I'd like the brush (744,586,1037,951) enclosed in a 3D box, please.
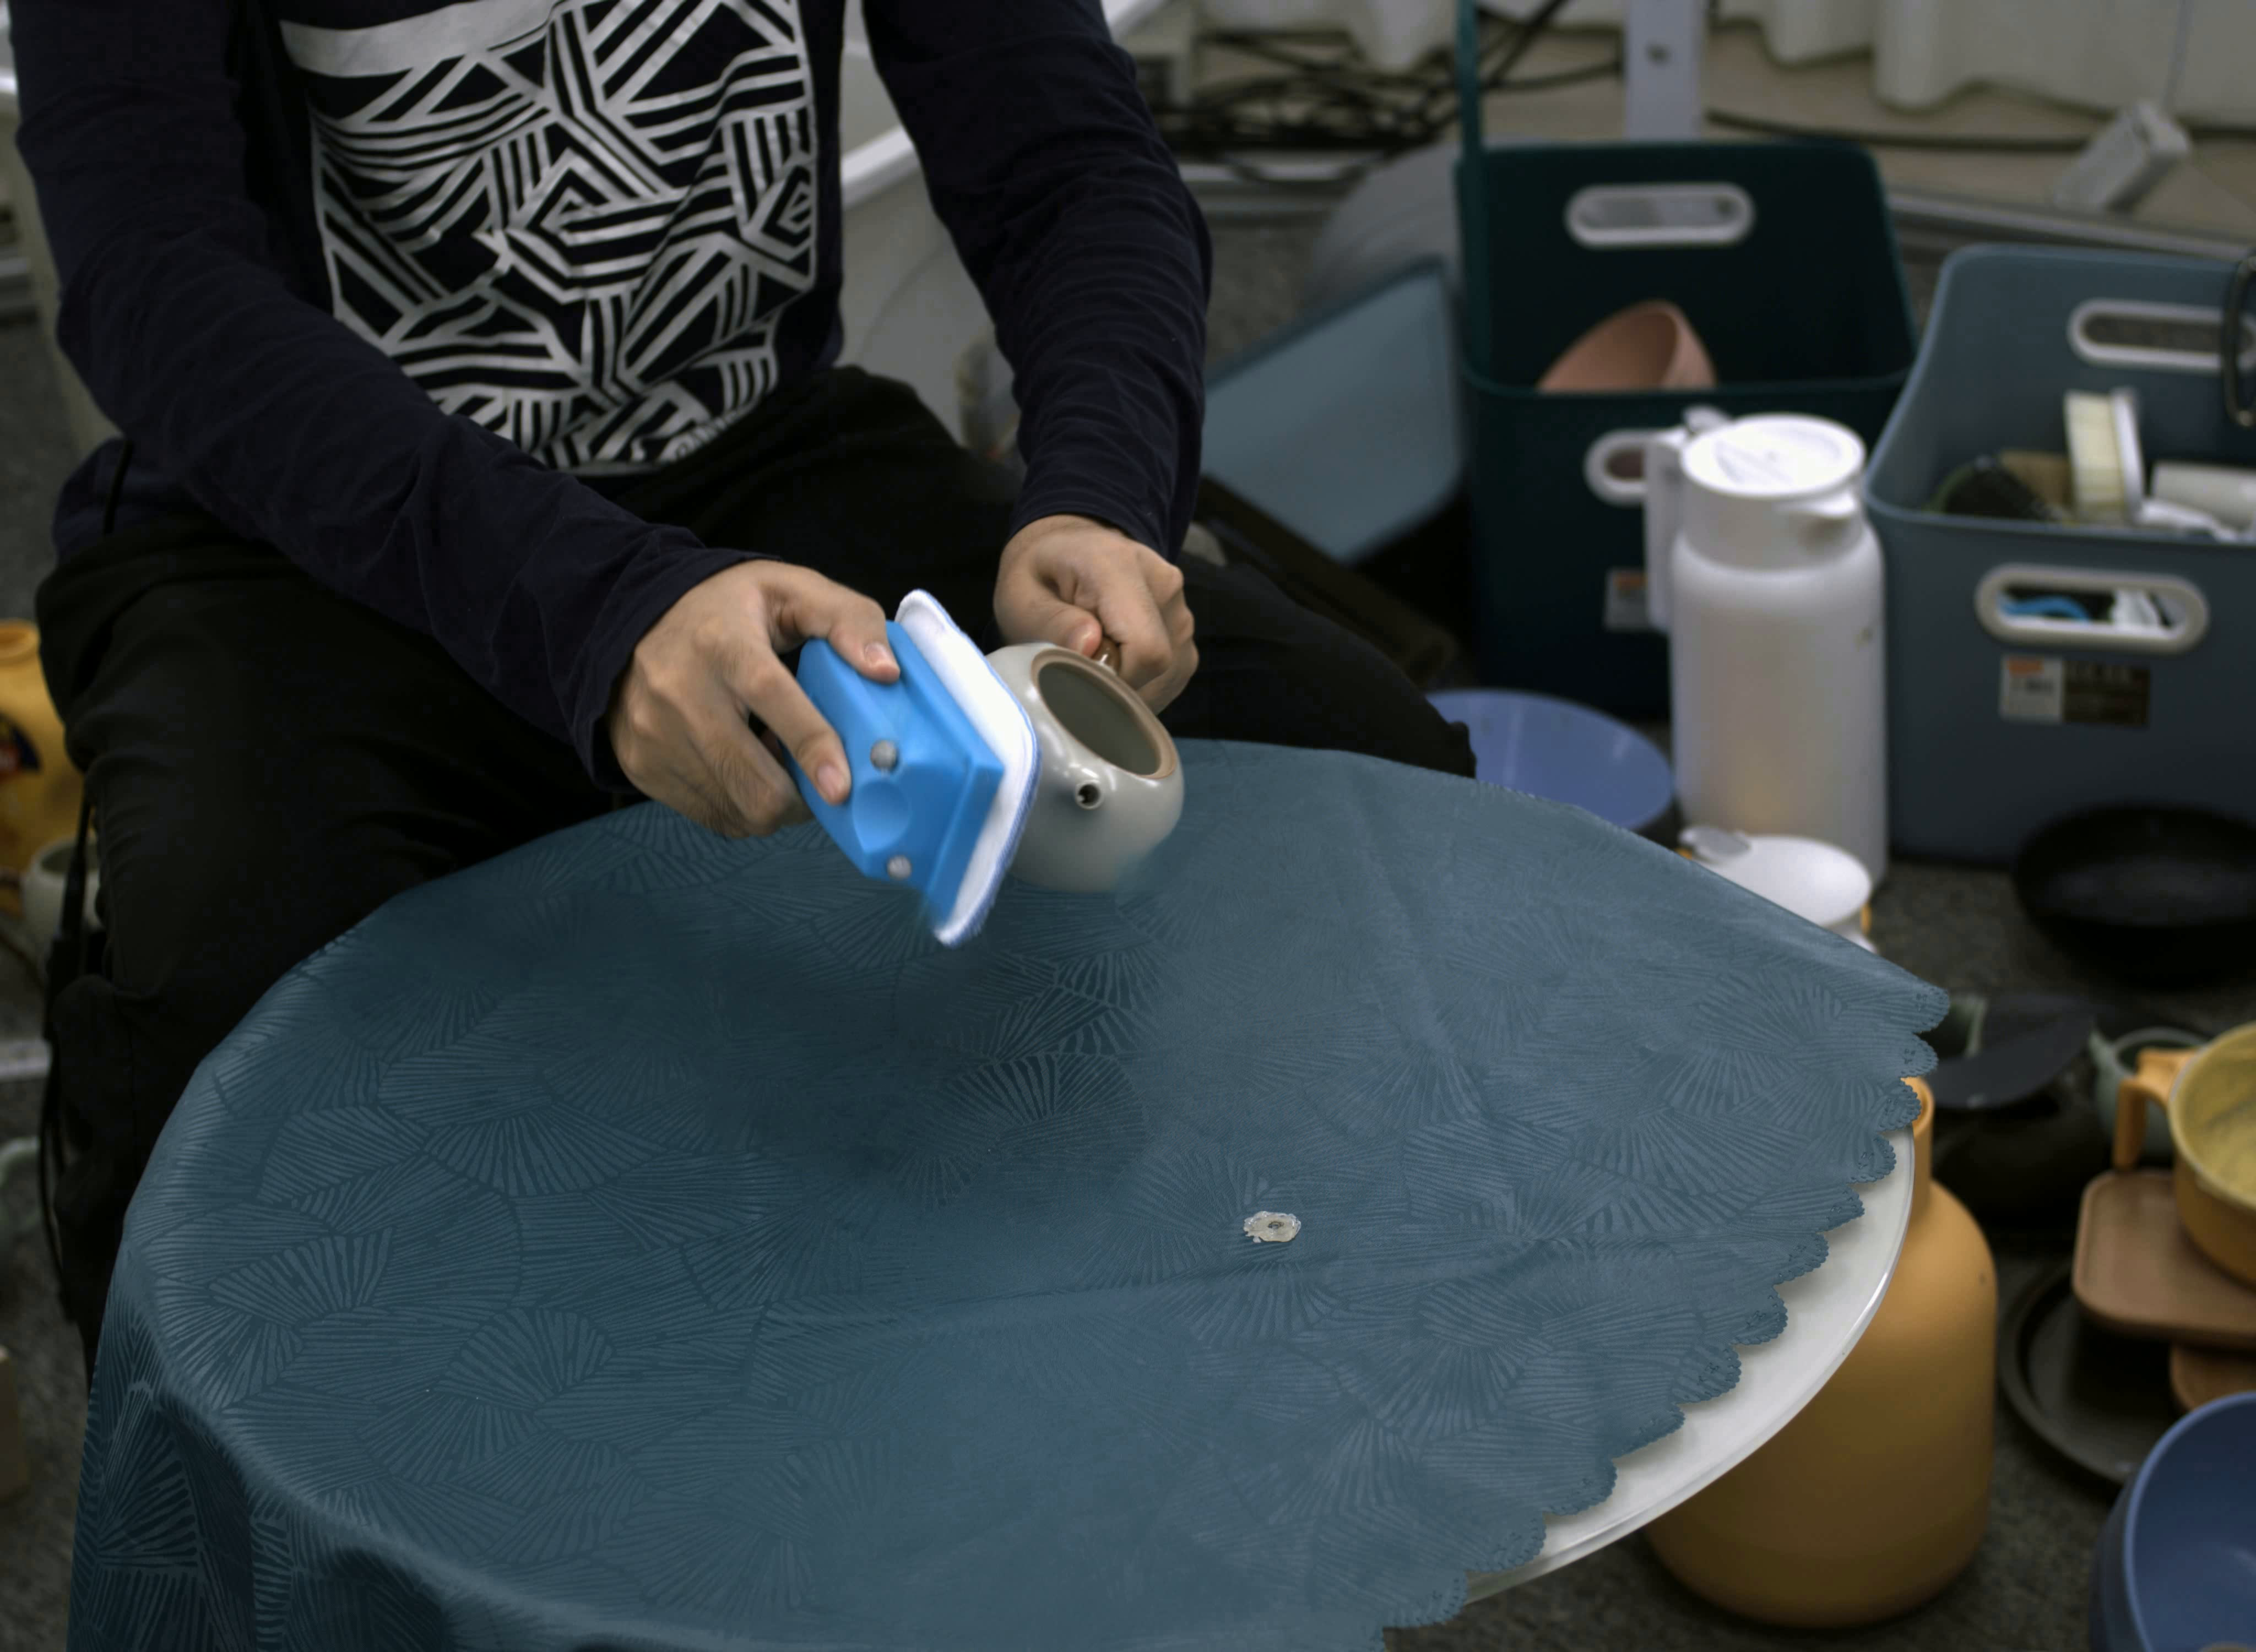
[{"bbox_3d":[-0.084,-0.023,1.845,0.056,0.083,0.145,18,17,-33],"label":"brush"}]

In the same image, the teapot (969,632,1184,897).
[{"bbox_3d":[-0.024,-0.023,1.901,0.091,0.059,0.130,31,27,-16],"label":"teapot"}]
